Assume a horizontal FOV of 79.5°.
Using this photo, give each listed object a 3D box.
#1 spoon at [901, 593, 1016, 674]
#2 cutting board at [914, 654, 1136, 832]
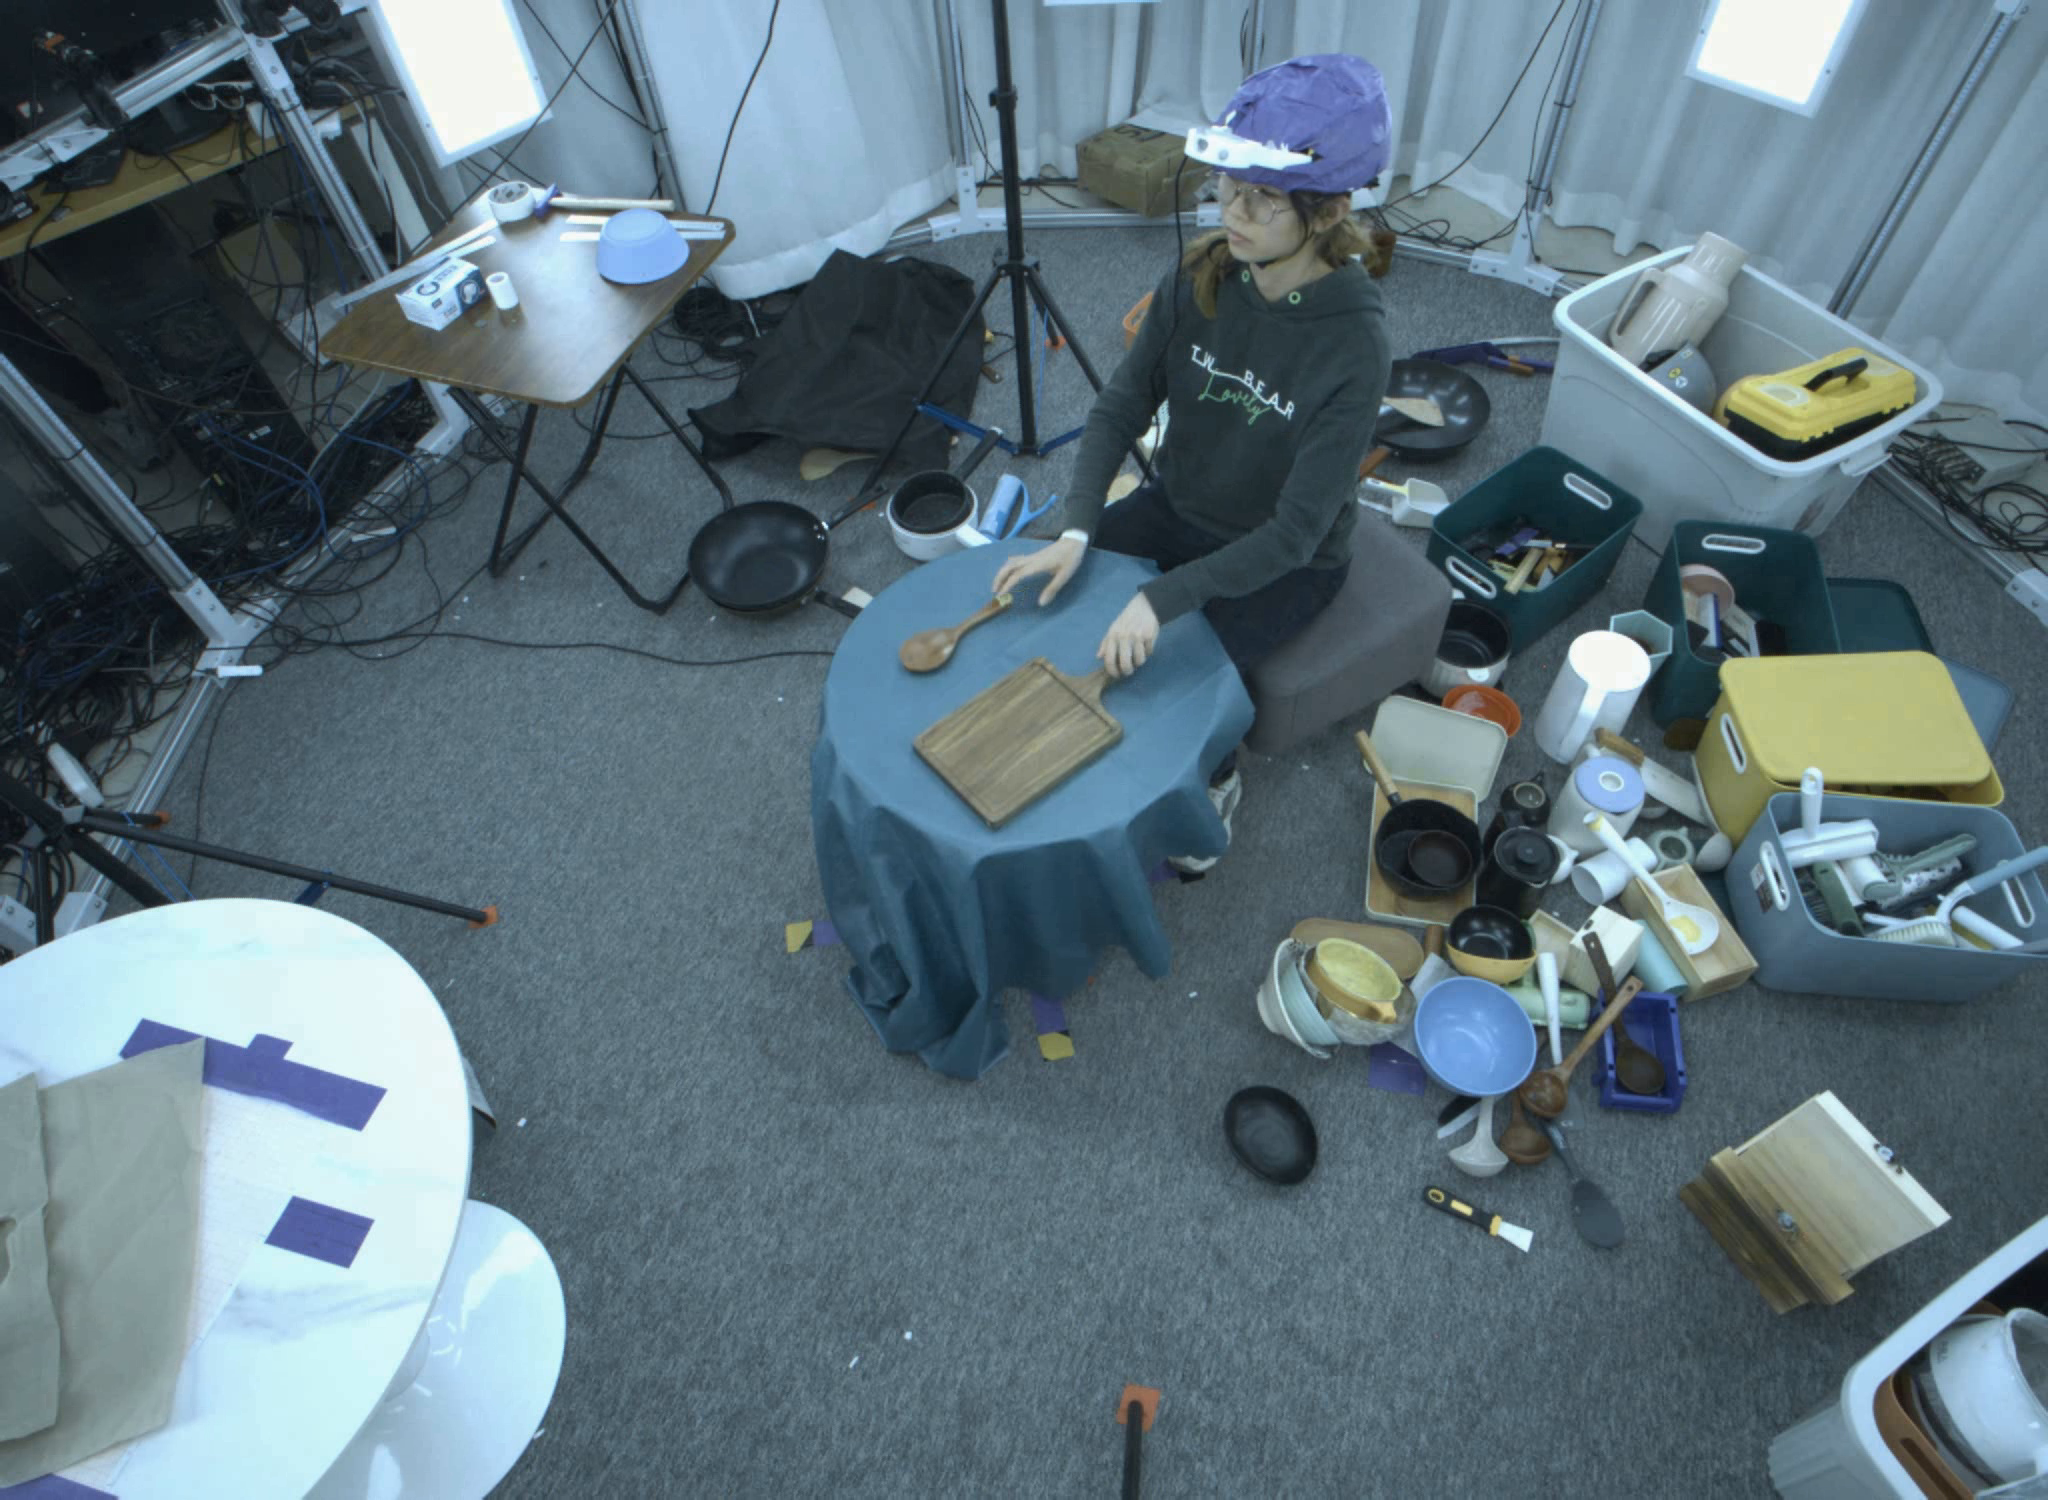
[{"bbox_3d":[-0.099,-0.182,1.918,0.217,0.017,0.074,-37,60,-21],"label":"spoon"},{"bbox_3d":[0.031,-0.039,1.813,0.355,0.023,0.197,-35,60,-21],"label":"cutting board"}]
